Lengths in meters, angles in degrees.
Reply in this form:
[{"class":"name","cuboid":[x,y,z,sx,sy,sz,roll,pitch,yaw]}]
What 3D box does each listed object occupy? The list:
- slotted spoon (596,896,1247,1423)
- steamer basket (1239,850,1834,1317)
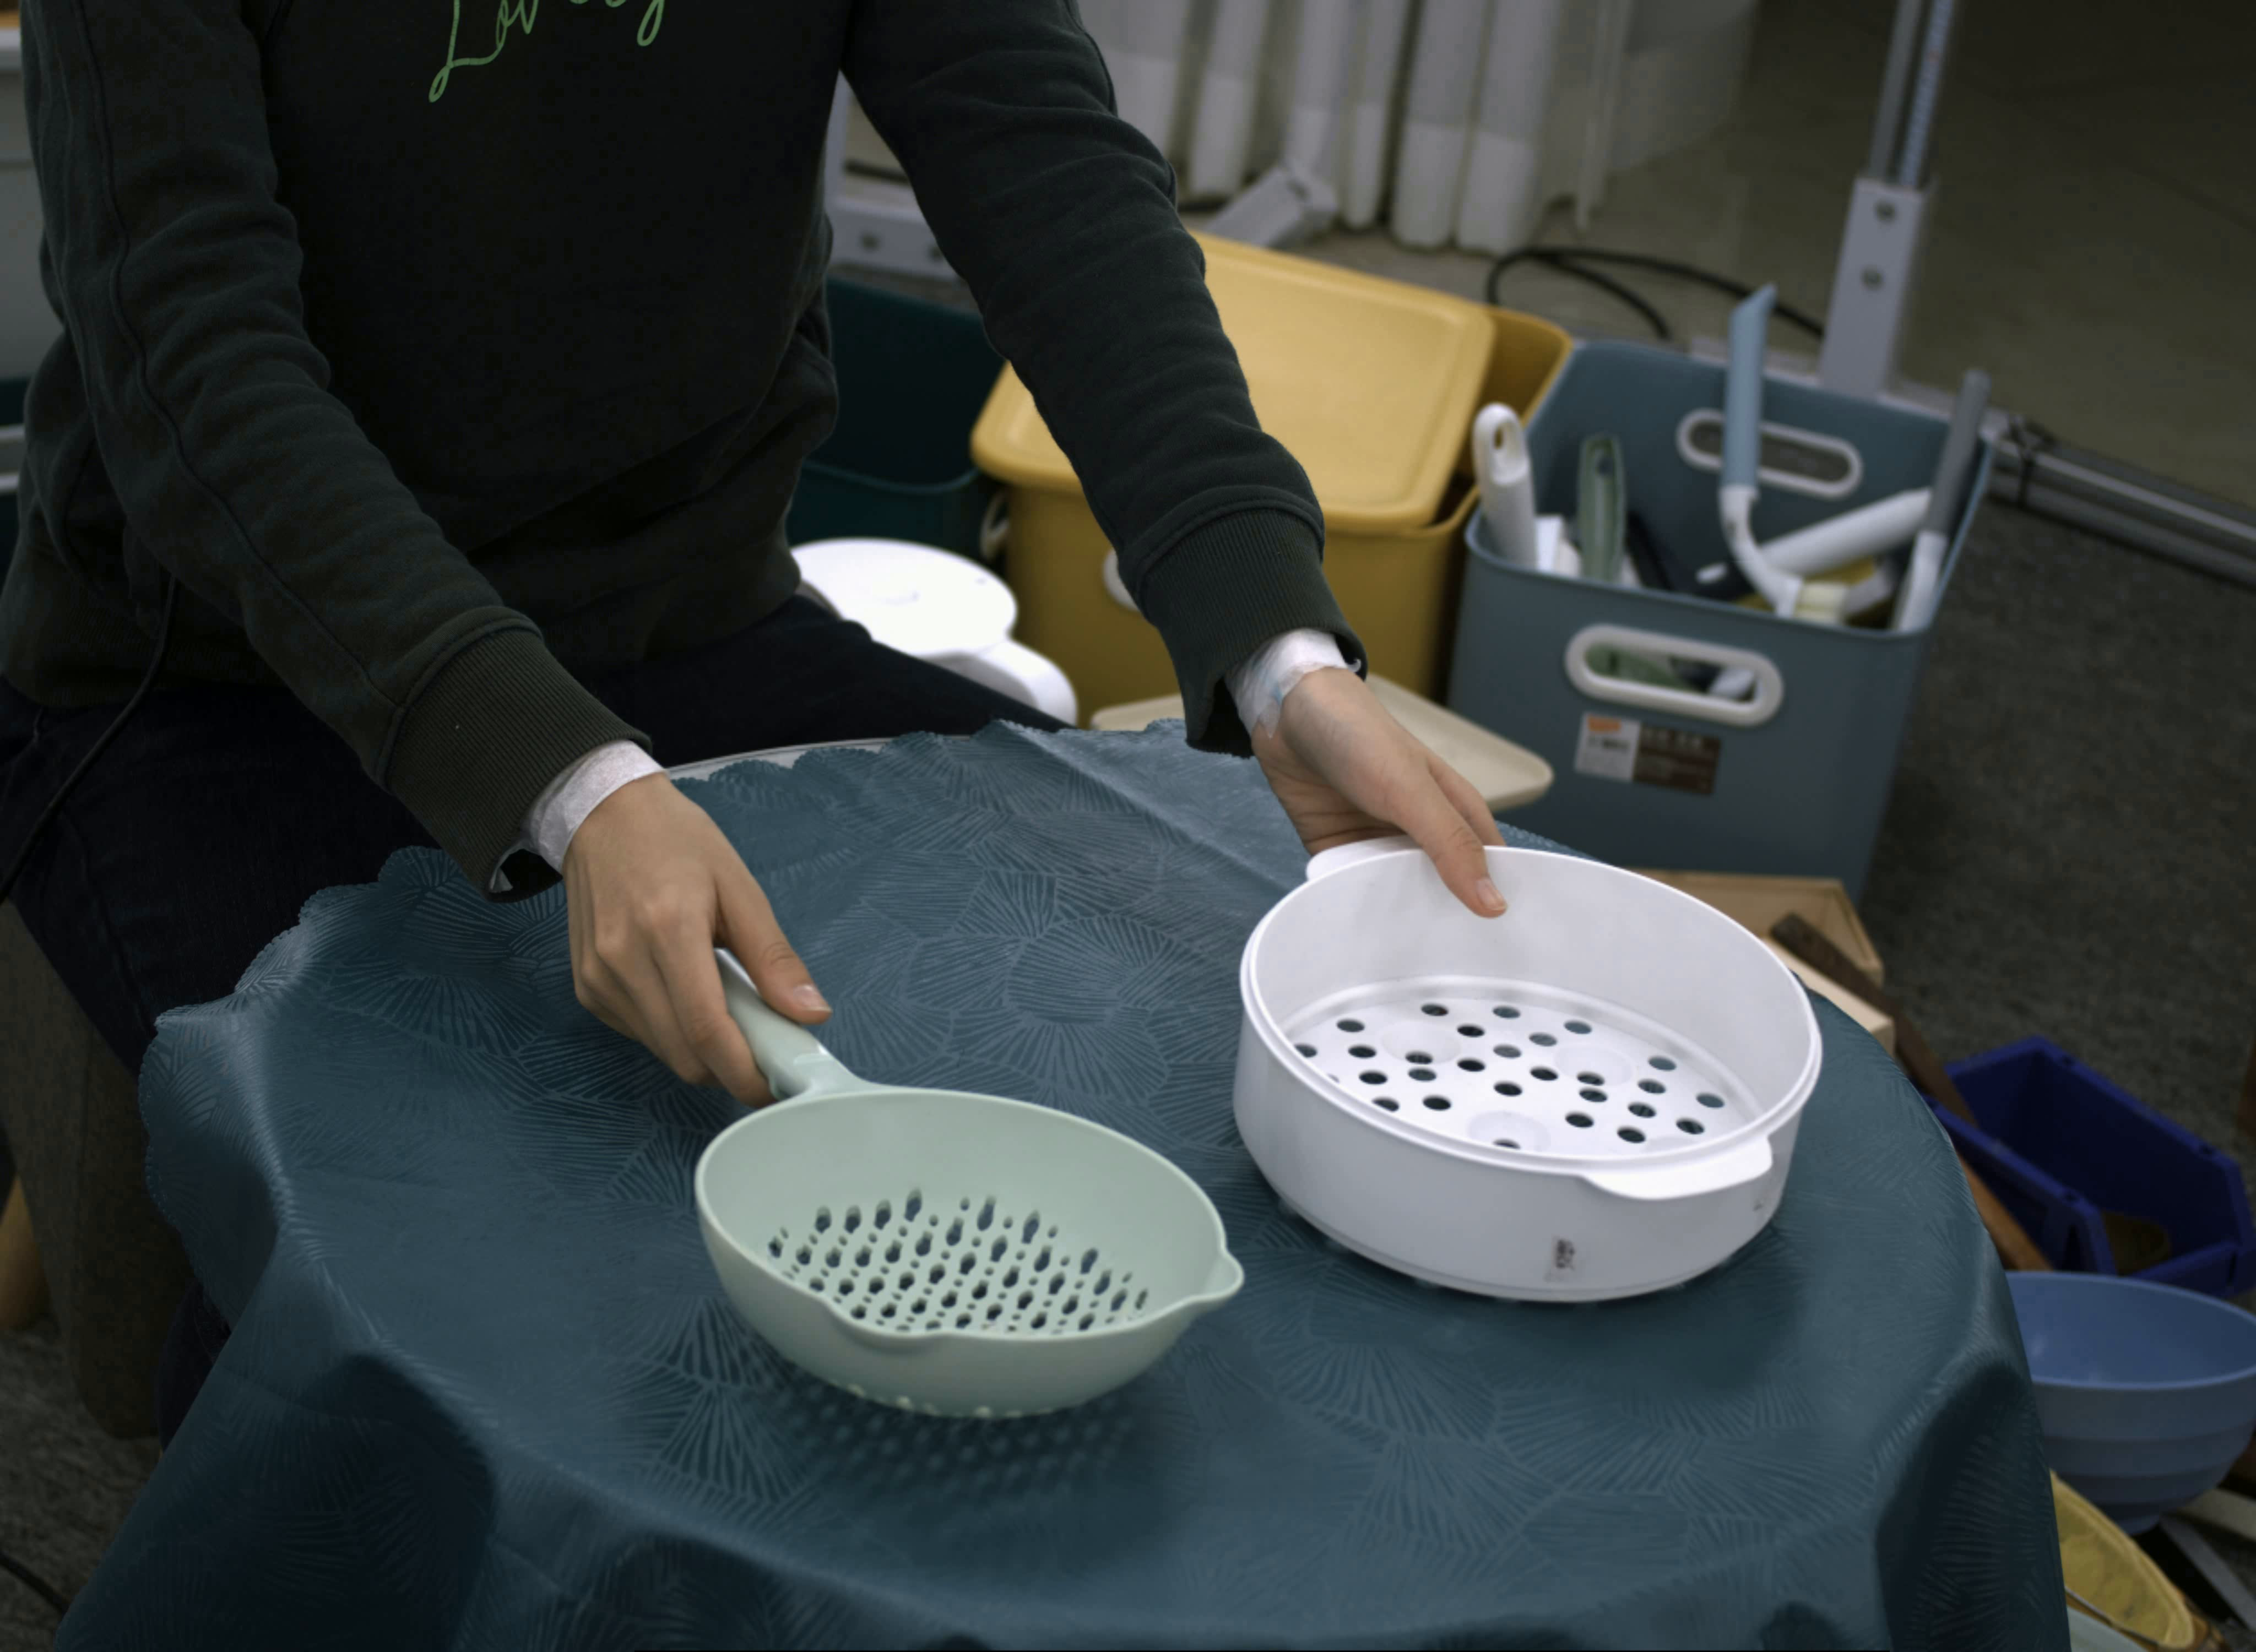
[{"class":"slotted spoon","cuboid":[-0.100,0.094,1.752,0.168,0.075,0.362,-4,32,-29]},{"class":"steamer basket","cuboid":[0.137,0.090,1.820,0.200,0.069,0.233,-9,33,-27]}]
